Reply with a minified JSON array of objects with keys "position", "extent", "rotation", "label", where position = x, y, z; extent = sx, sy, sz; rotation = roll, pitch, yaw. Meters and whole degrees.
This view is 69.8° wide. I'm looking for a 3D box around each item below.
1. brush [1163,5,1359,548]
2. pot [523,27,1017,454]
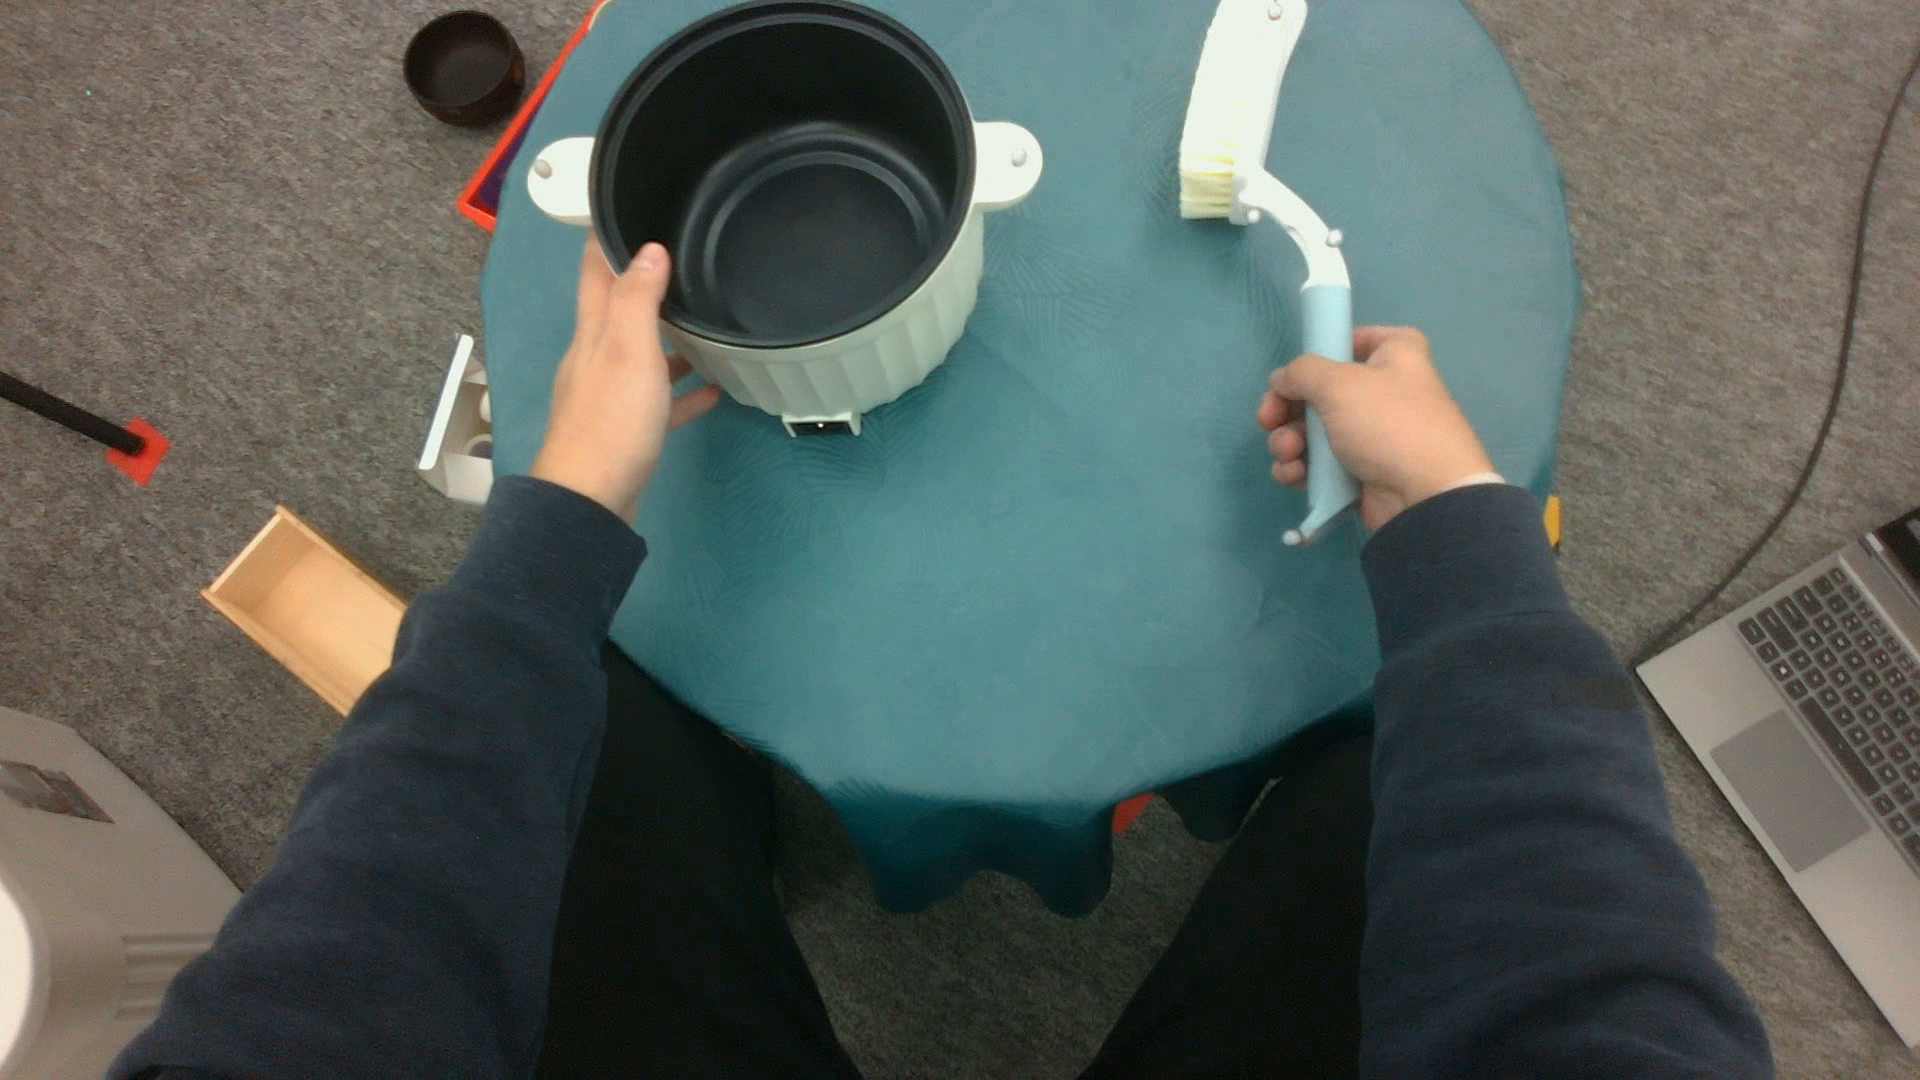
[{"position":[0.137,-0.147,0.708],"extent":[0.084,0.083,0.326],"rotation":[-21,58,40],"label":"brush"},{"position":[-0.087,-0.153,0.716],"extent":[0.240,0.142,0.191],"rotation":[-5,77,4],"label":"pot"}]
